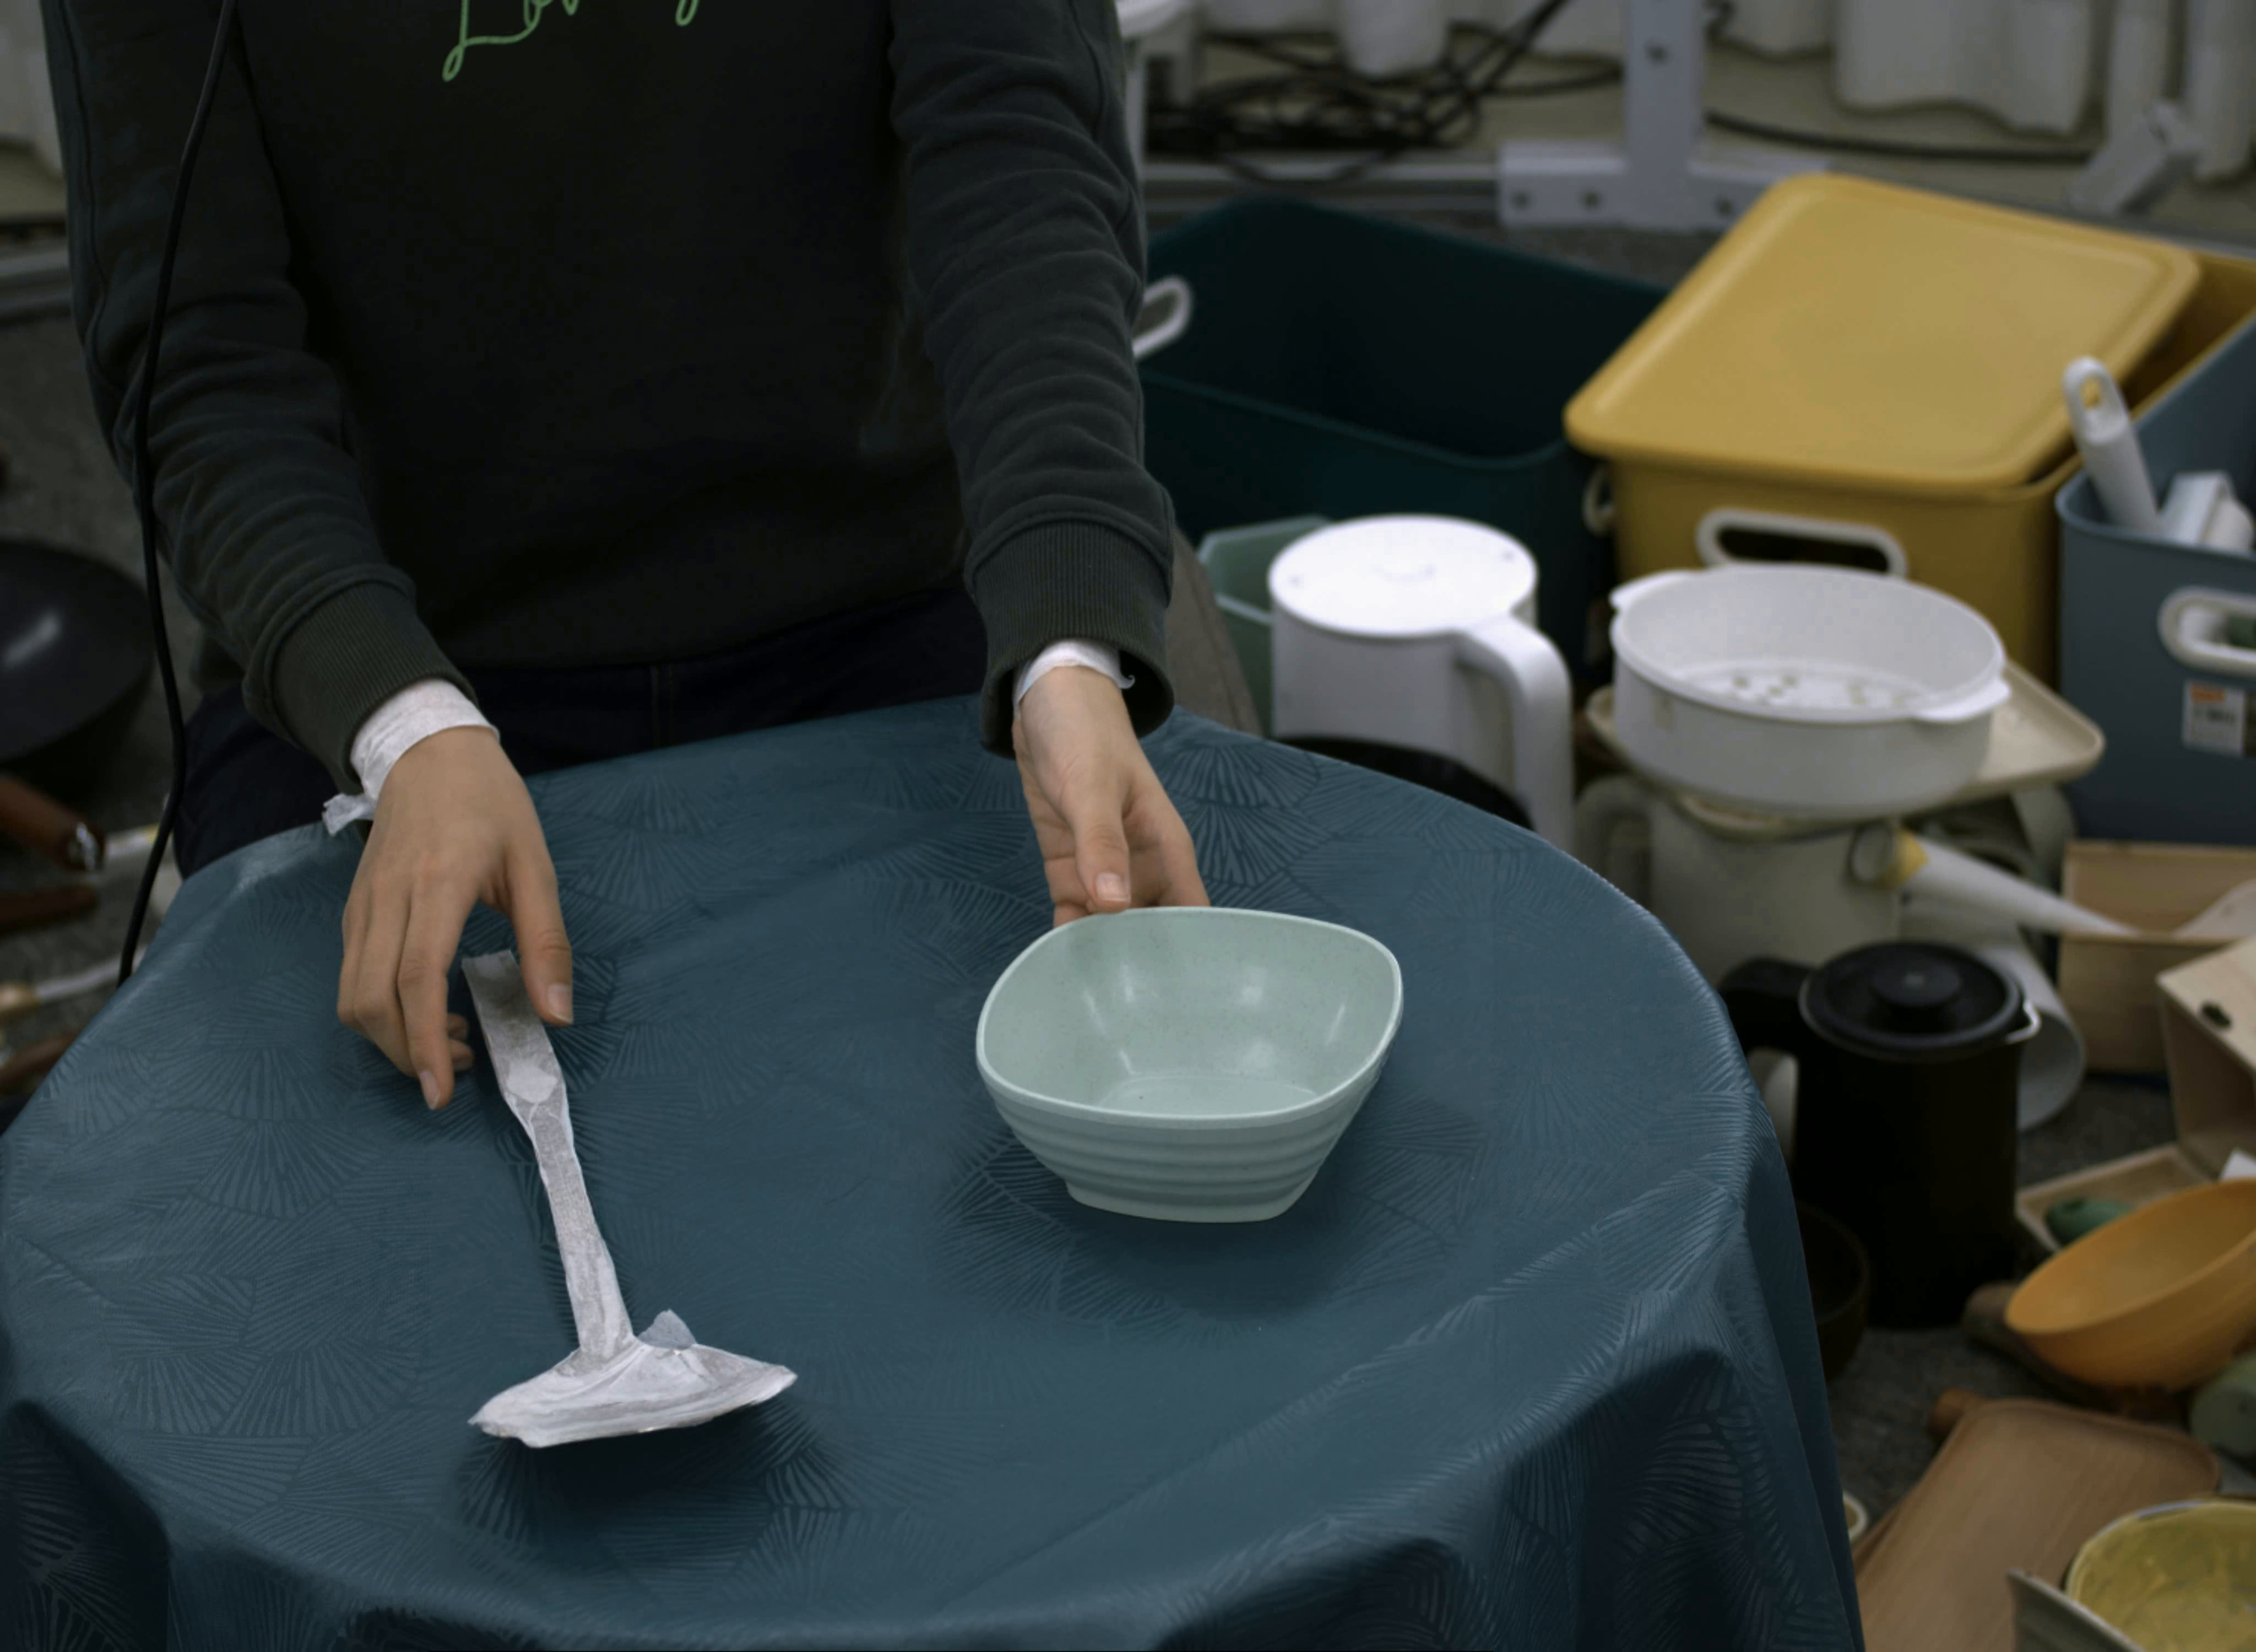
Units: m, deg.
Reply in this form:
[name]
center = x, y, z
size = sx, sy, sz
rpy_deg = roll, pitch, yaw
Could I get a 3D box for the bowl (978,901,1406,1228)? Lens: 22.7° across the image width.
[bowl]
center = 0.022, 0.086, 1.868
size = 0.151, 0.058, 0.154
rpy_deg = 0, 29, 0

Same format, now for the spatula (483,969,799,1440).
[spatula]
center = -0.181, 0.116, 1.848
size = 0.098, 0.044, 0.369
rpy_deg = -10, 28, -9
